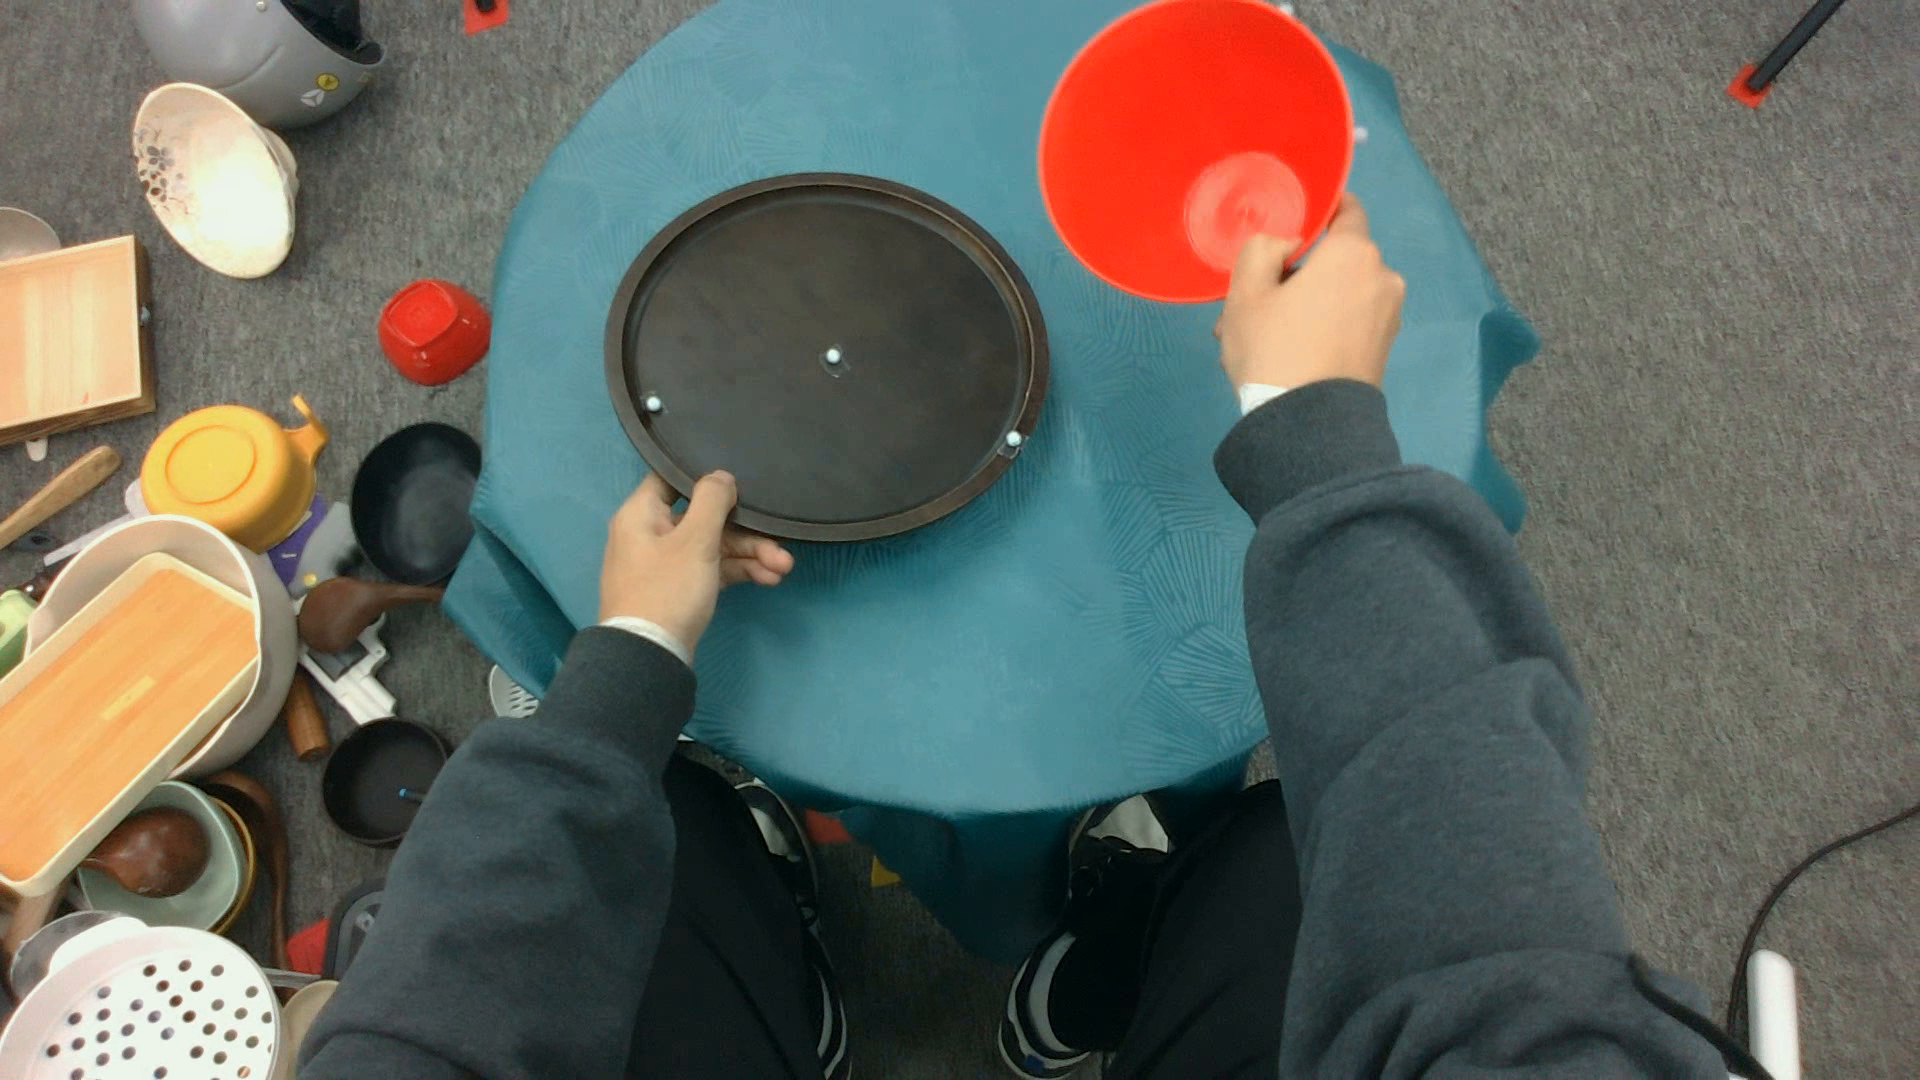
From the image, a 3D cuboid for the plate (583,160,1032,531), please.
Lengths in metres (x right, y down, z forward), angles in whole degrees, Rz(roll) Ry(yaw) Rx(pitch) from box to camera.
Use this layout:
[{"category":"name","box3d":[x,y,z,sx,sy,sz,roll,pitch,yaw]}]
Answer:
[{"category":"plate","box3d":[-0.085,-0.116,0.788,0.255,0.029,0.256,3,63,-6]}]

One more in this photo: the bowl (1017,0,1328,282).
[{"category":"bowl","box3d":[0.115,-0.195,0.697,0.148,0.105,0.148,-2,84,22]}]
